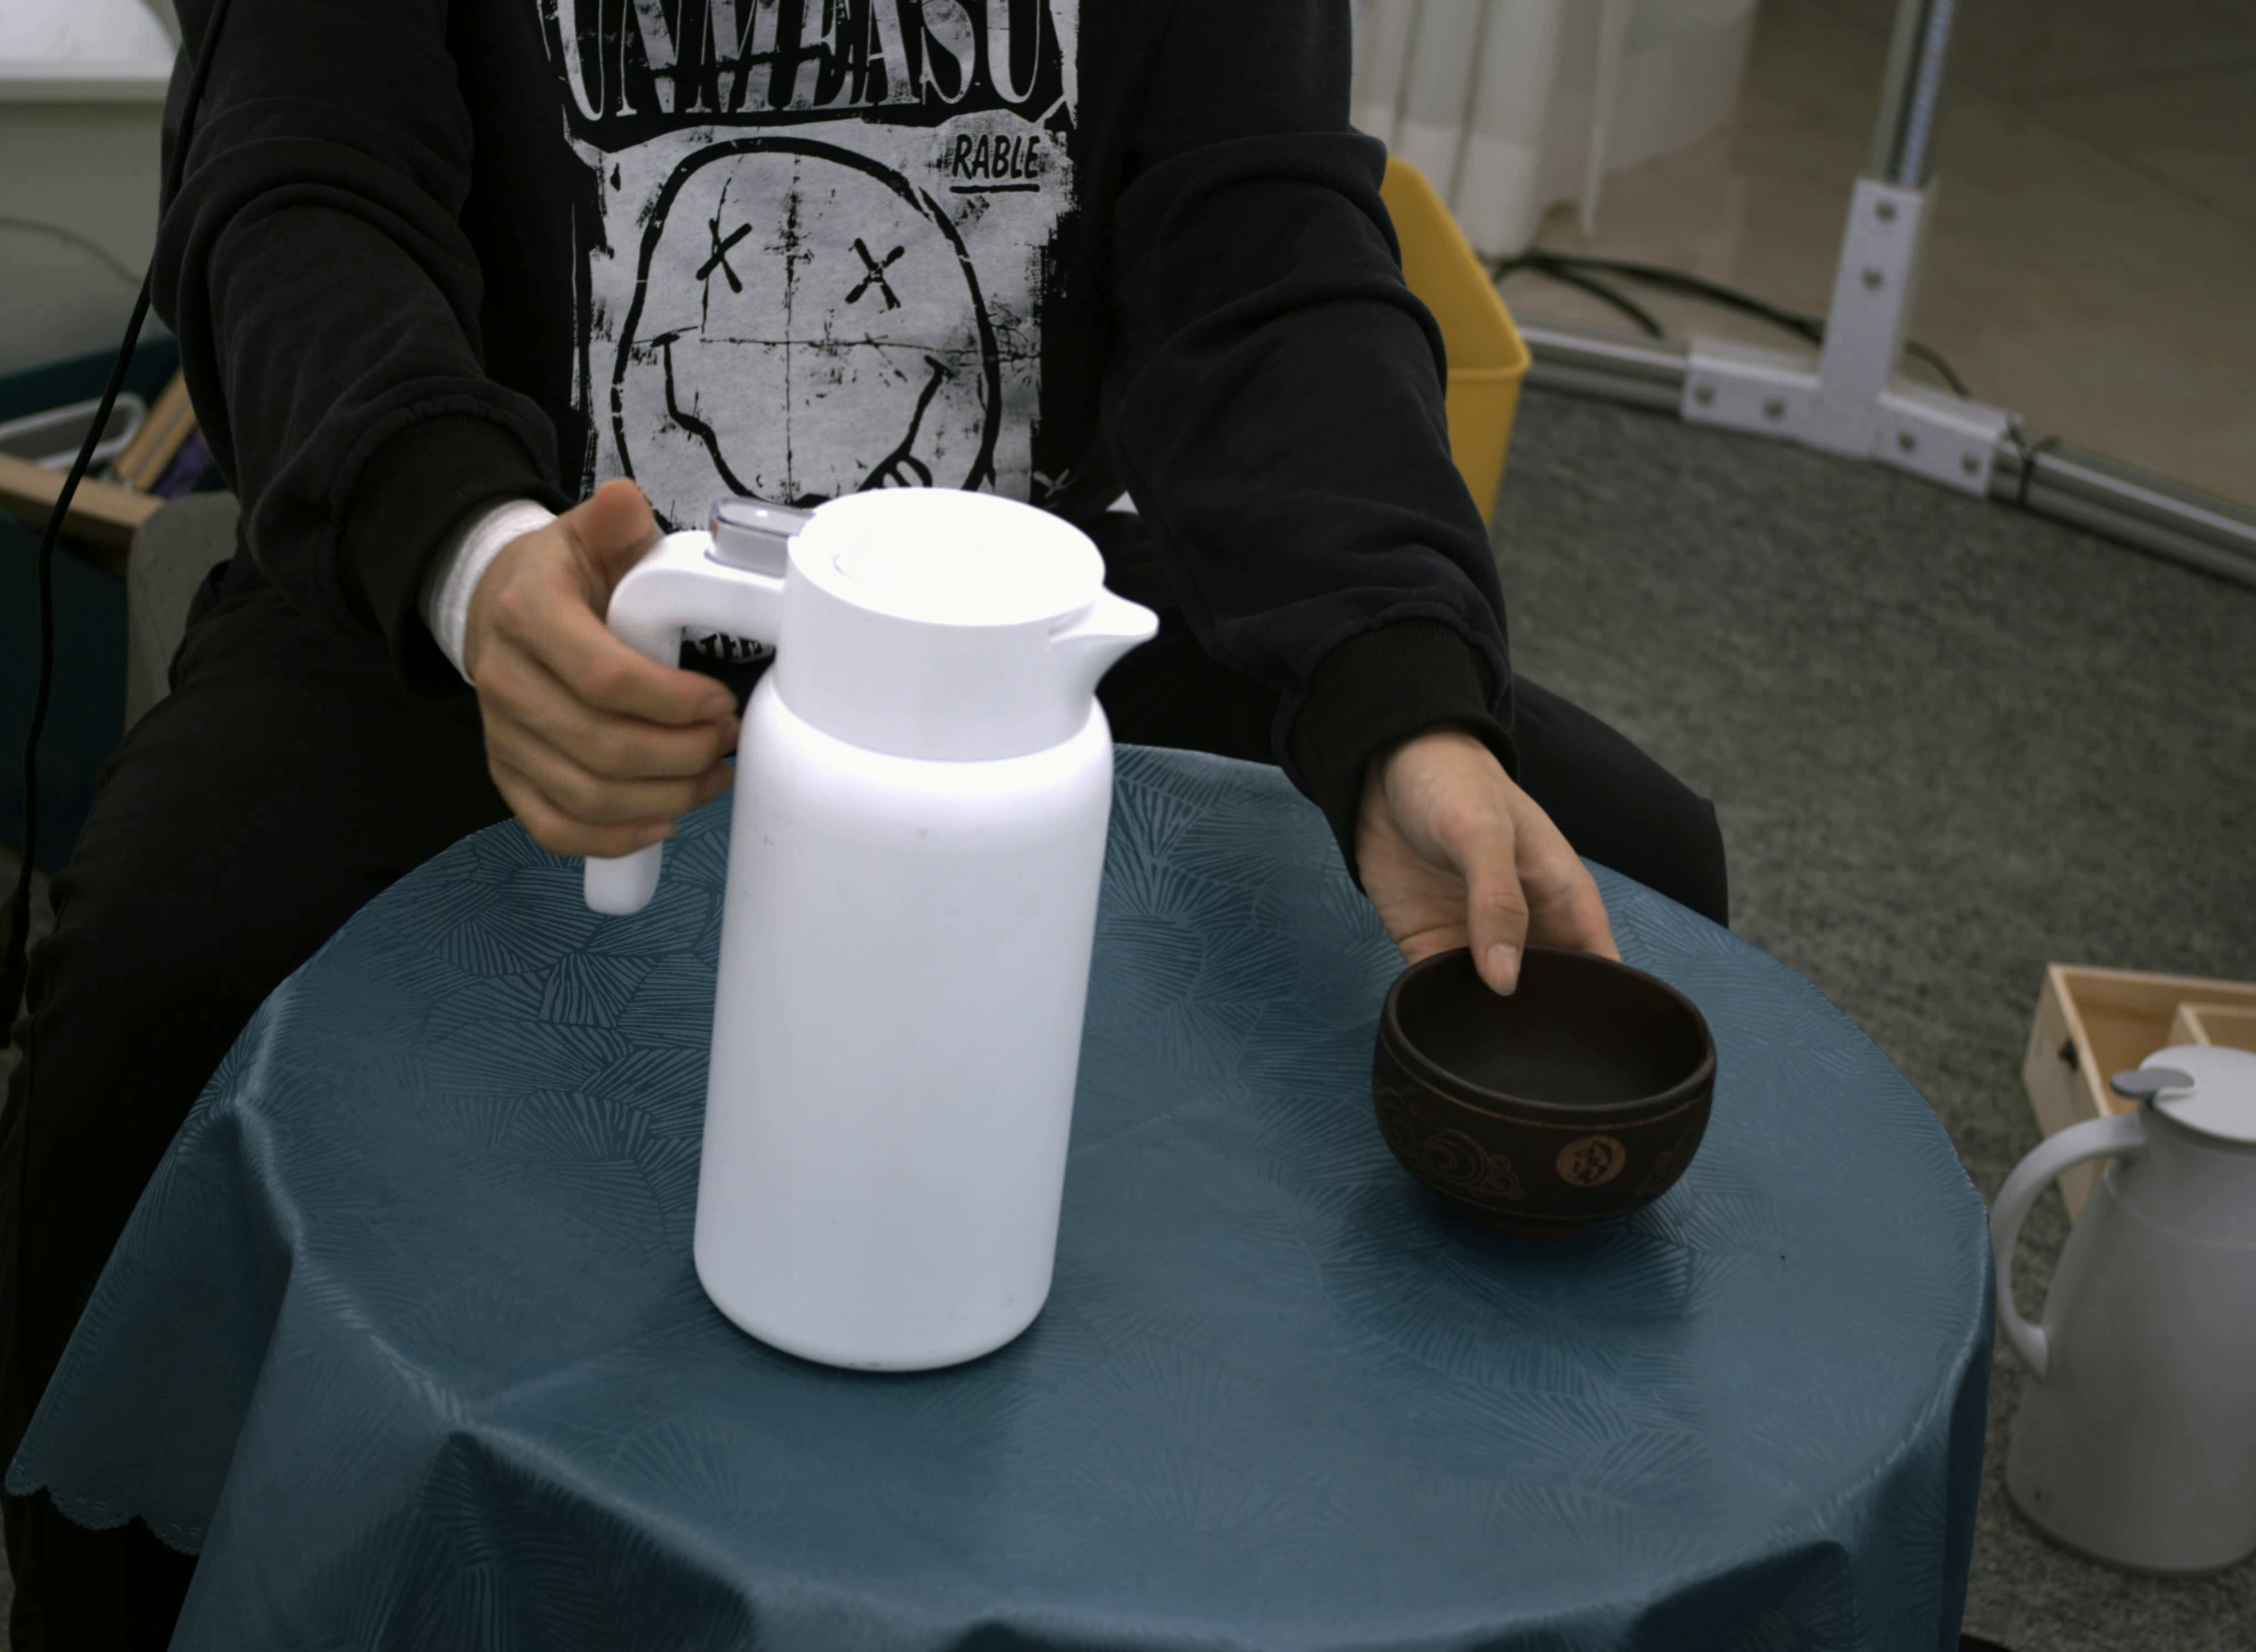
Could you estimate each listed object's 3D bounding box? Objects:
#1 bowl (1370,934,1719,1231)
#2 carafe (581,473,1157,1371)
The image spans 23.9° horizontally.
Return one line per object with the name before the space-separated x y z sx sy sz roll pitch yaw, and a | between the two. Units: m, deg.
bowl | 0.139 0.094 1.812 0.117 0.069 0.119 4 27 -3
carafe | -0.088 0.029 1.678 0.173 0.268 0.124 12 28 10
